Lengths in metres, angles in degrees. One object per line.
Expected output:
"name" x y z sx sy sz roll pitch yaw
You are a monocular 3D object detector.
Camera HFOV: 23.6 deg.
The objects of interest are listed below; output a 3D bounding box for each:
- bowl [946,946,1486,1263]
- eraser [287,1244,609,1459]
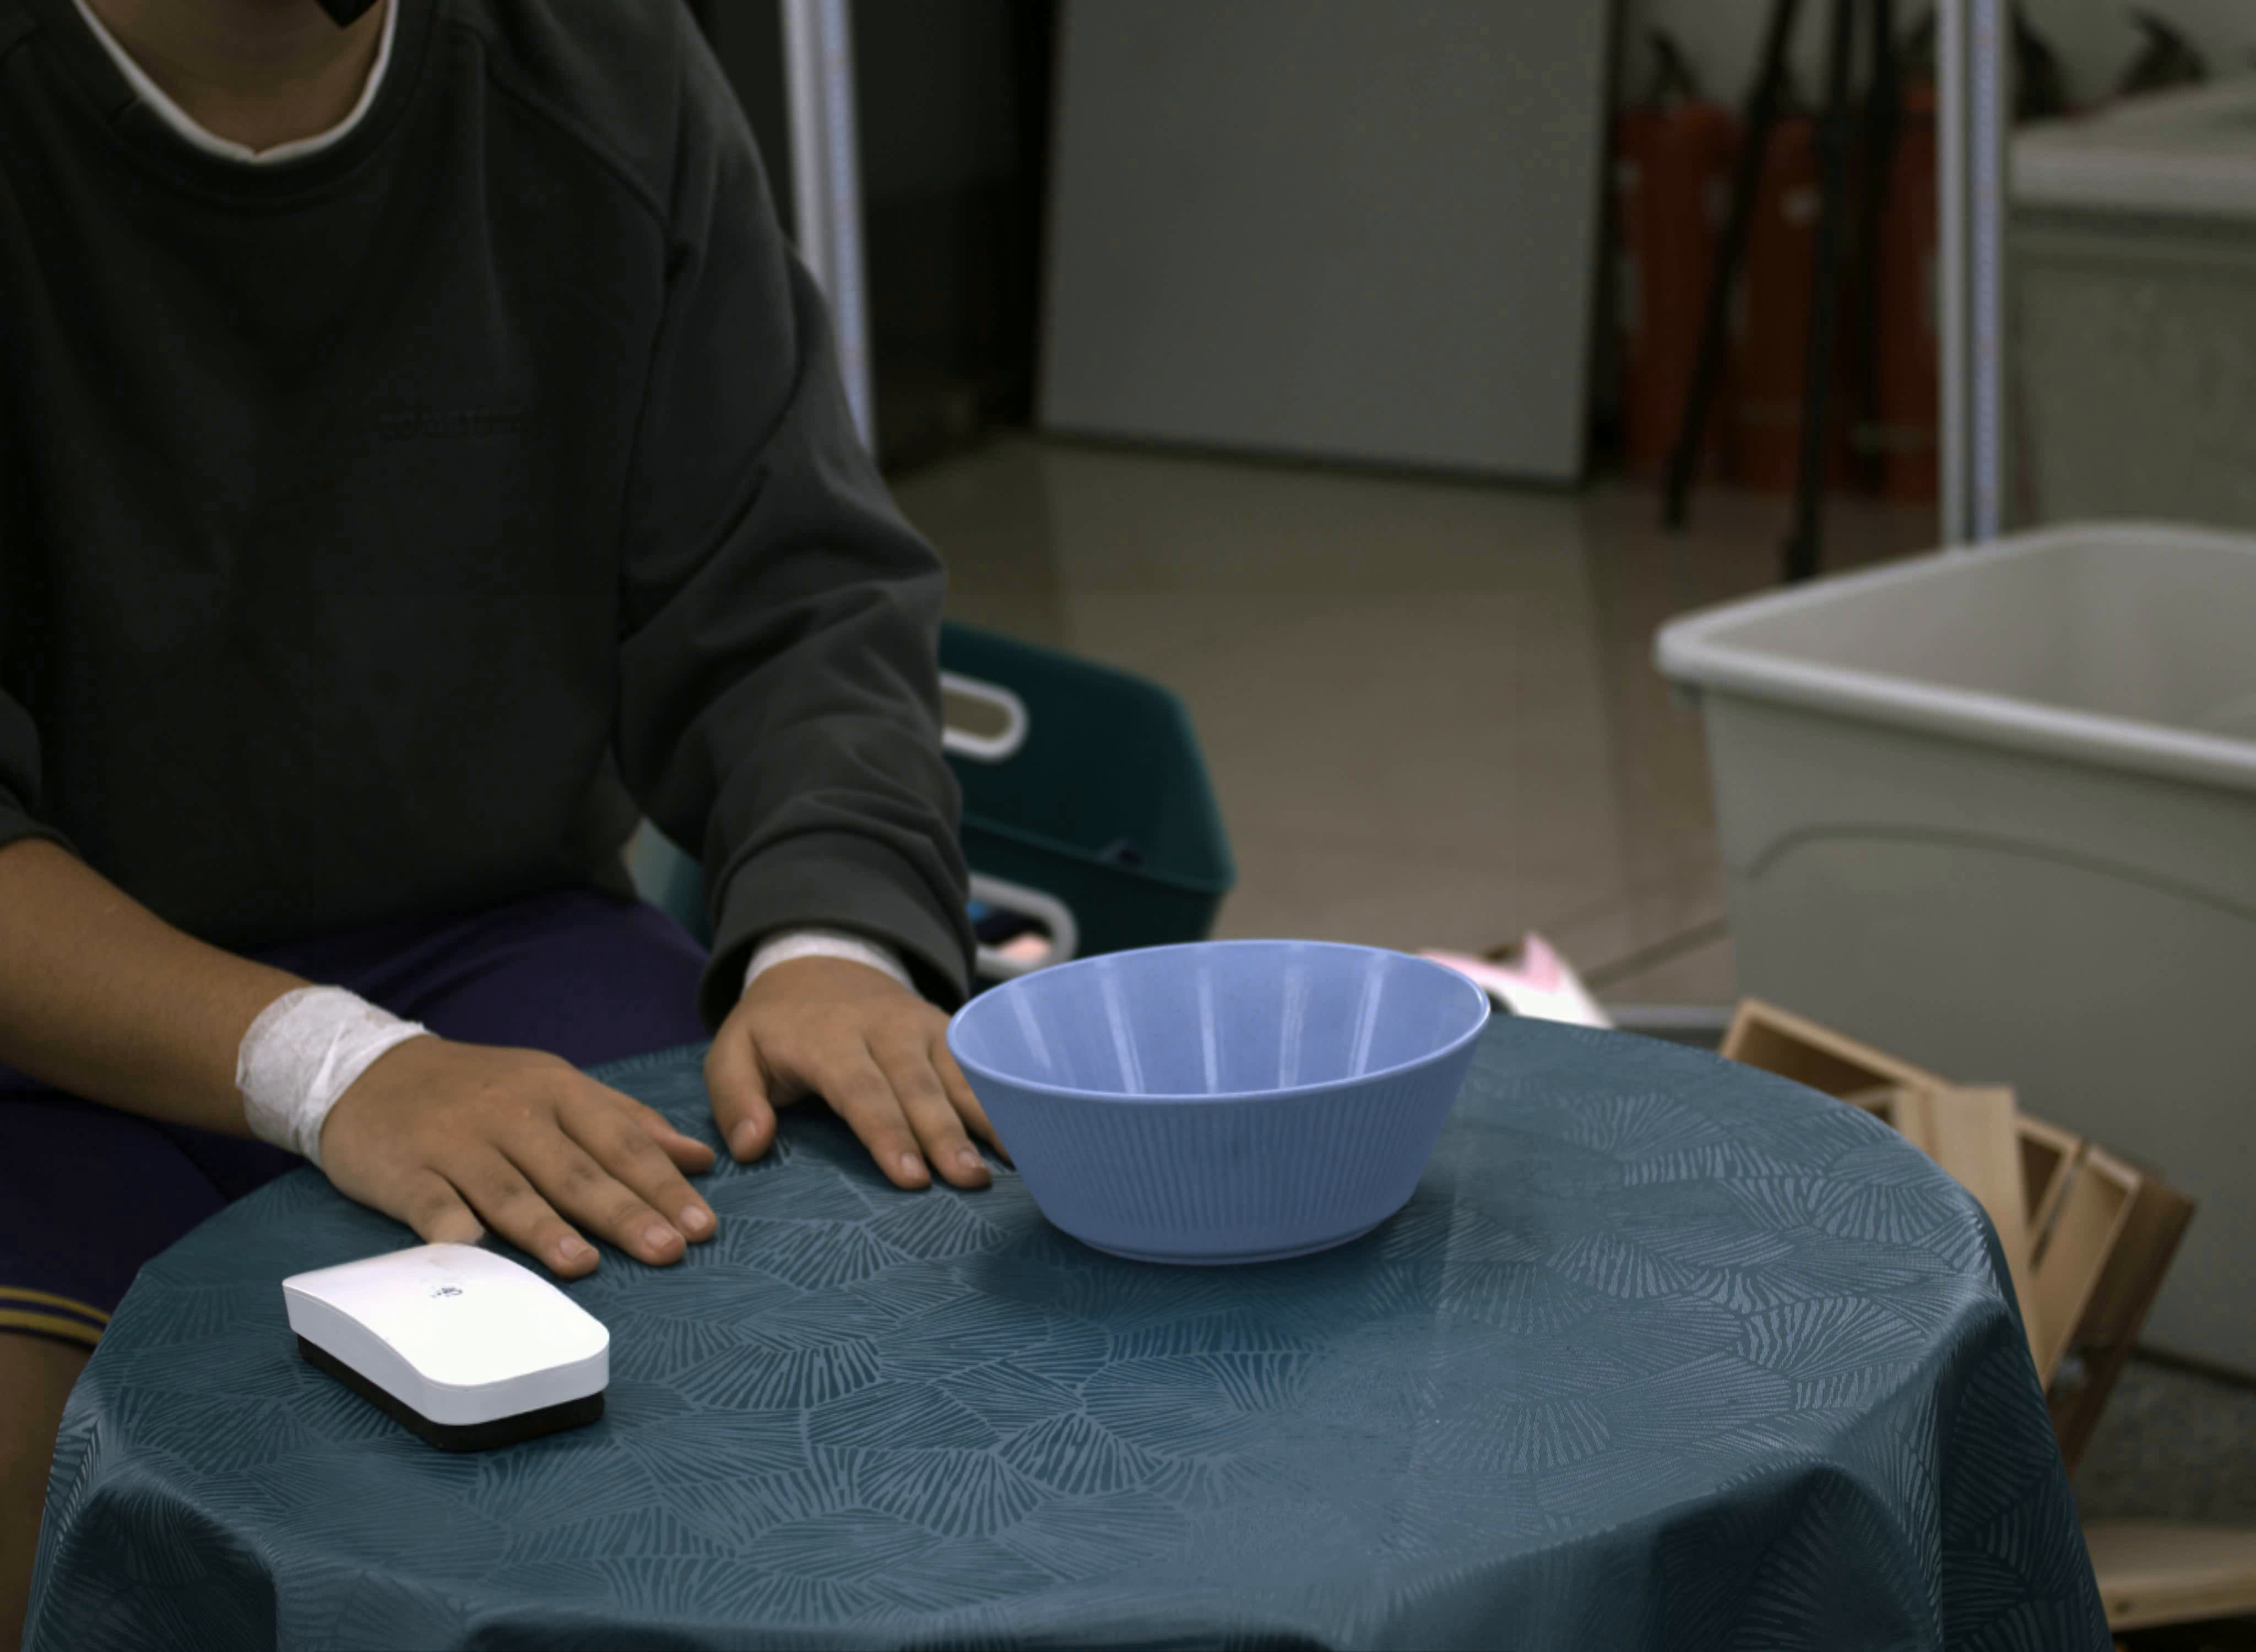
"bowl" 0.029 0.091 1.731 0.174 0.071 0.176 -3 13 0
"eraser" -0.204 0.153 1.628 0.062 0.035 0.133 -9 16 -27
